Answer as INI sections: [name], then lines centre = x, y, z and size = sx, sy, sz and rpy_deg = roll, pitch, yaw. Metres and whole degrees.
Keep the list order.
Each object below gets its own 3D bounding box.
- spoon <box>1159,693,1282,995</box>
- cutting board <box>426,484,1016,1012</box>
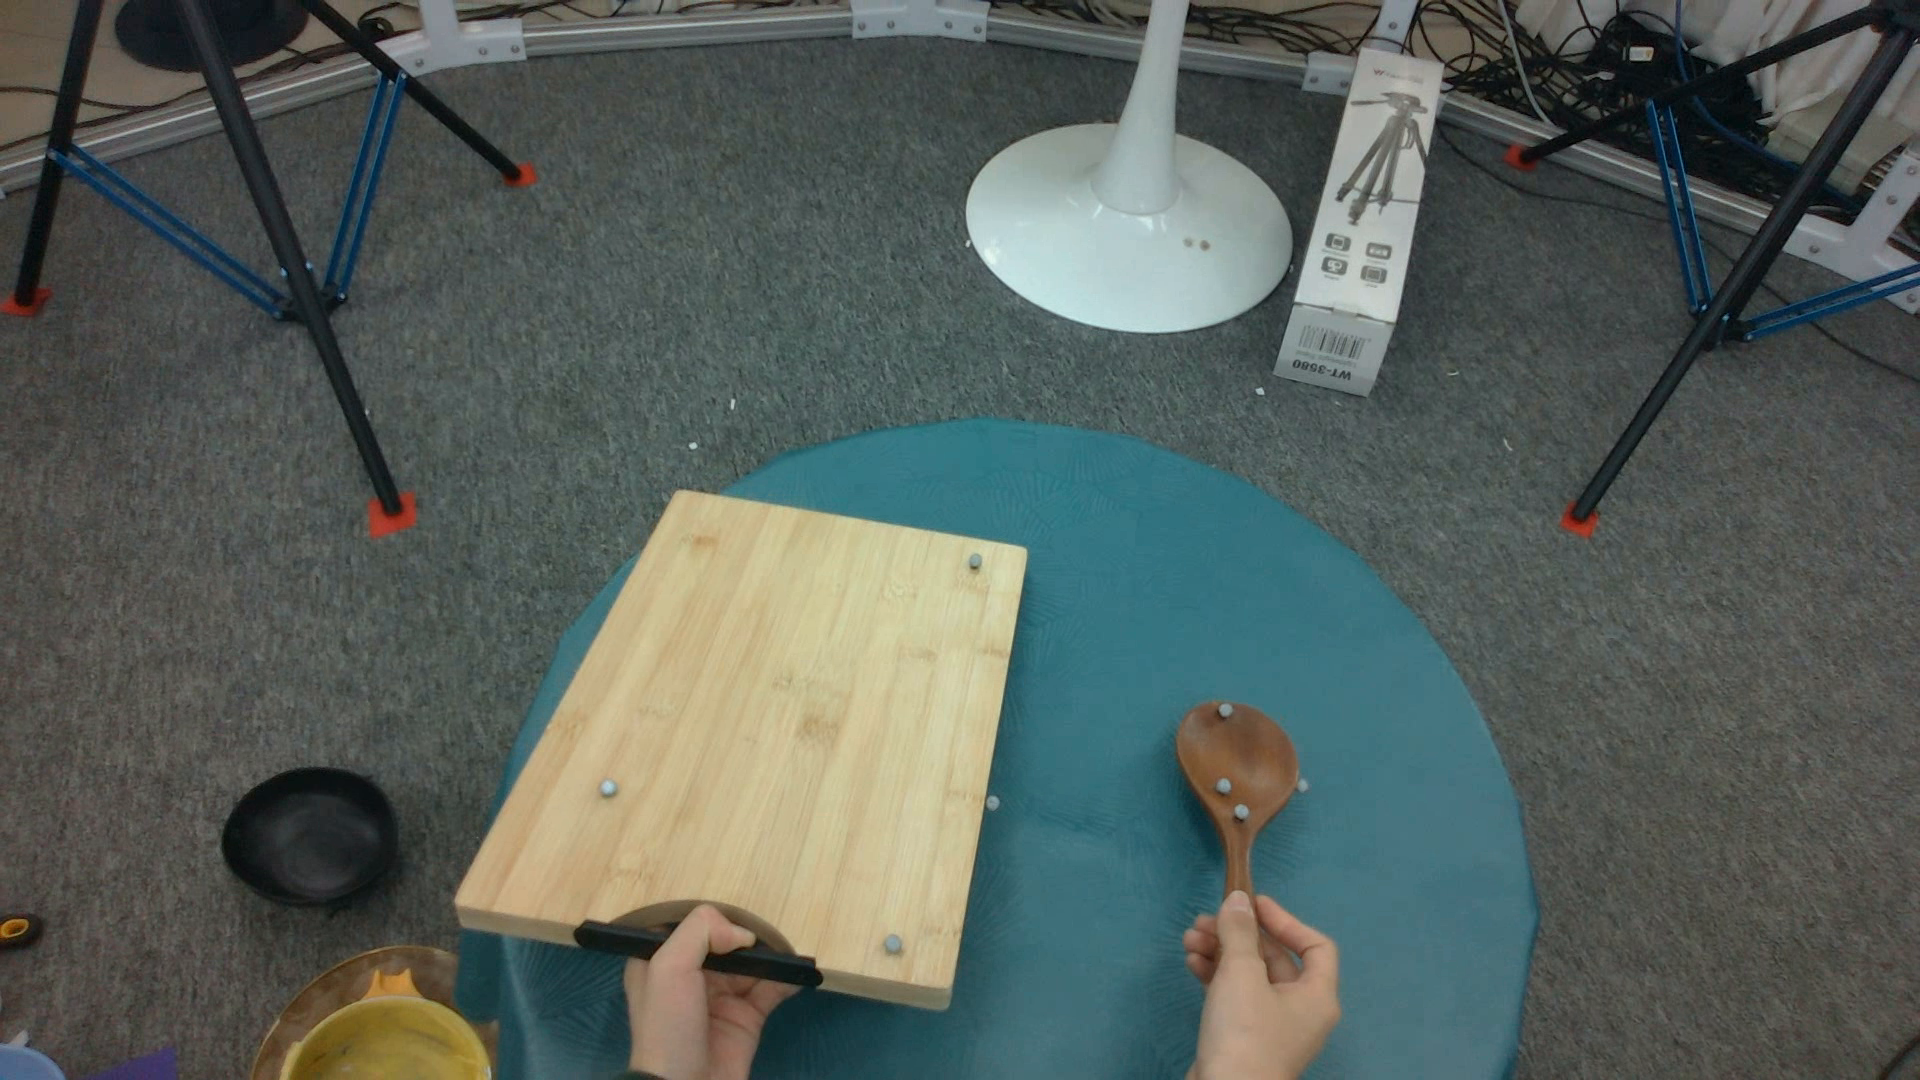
[spoon]
centre = 0.144, 0.159, 0.758
size = 0.075, 0.017, 0.217
rpy_deg = 15, 34, -1
[cutting board]
centre = -0.107, 0.093, 0.779
size = 0.250, 0.023, 0.350
rpy_deg = 8, 38, 2
